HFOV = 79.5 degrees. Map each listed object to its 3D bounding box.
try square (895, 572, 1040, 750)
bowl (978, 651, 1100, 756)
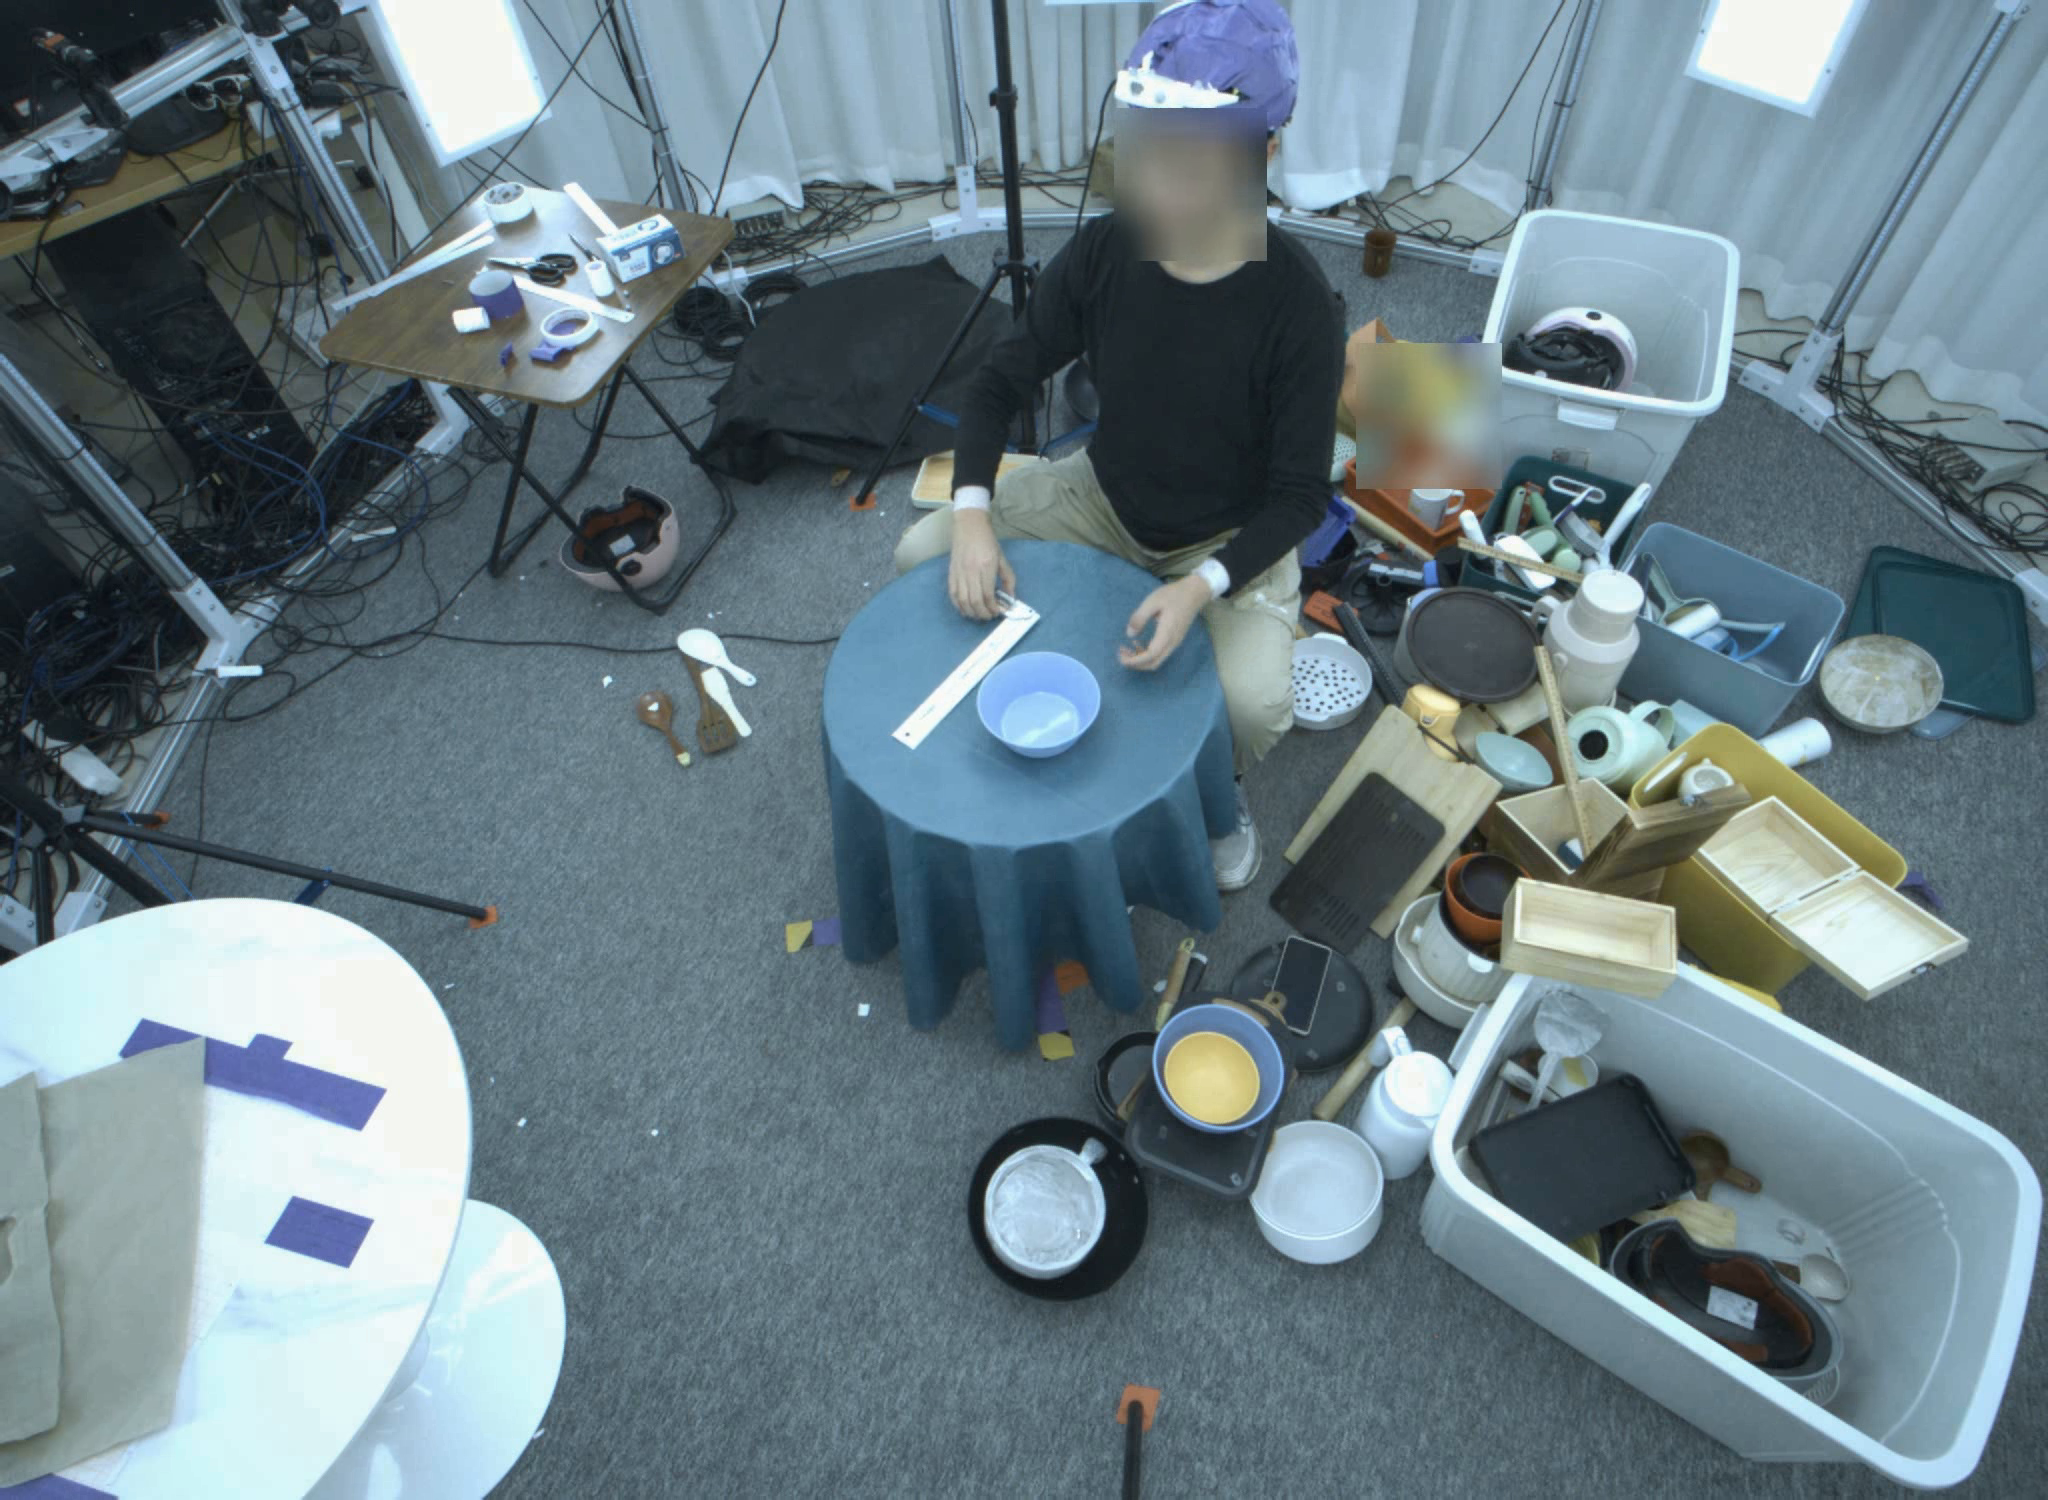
[{"bbox_3d":[-0.126,-0.142,1.882,0.150,0.016,0.314,32,63,19],"label":"try square"},{"bbox_3d":[0.024,-0.056,1.784,0.176,0.071,0.174,-1,55,2],"label":"bowl"}]
